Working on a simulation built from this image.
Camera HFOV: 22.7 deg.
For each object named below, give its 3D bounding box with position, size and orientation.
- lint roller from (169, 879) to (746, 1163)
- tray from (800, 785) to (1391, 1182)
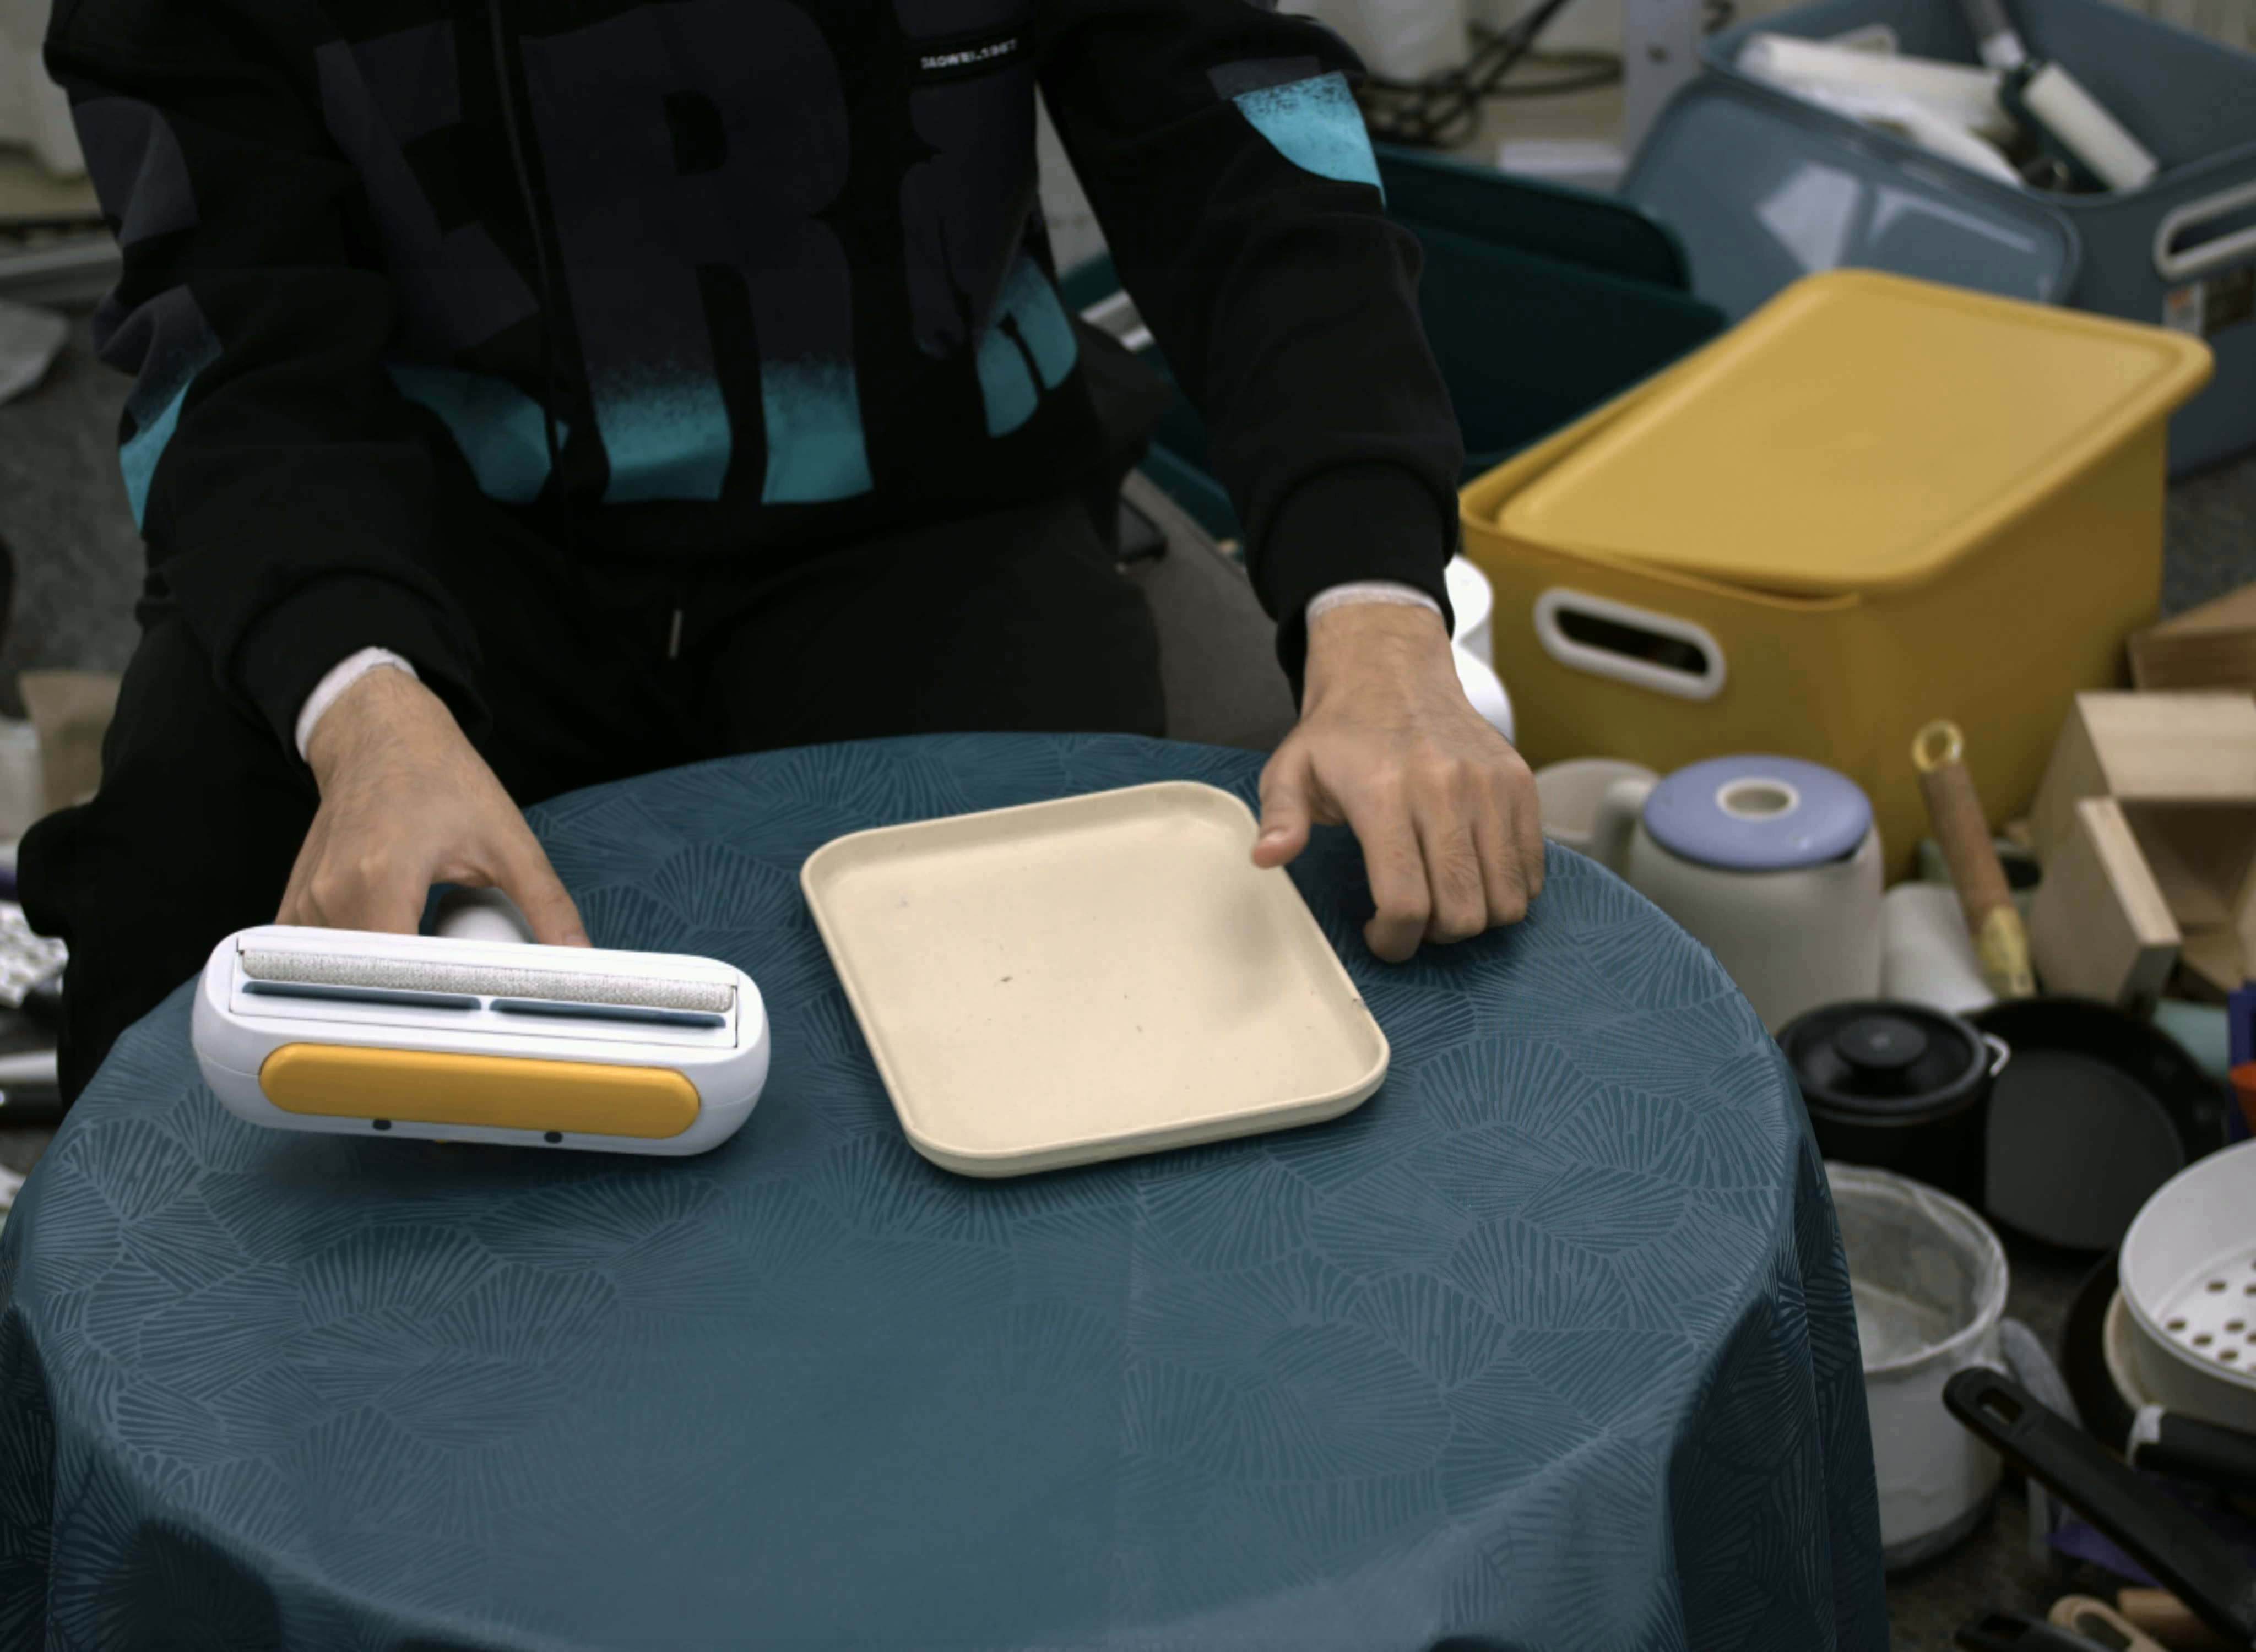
[{"bbox_3d":[-0.226,0.053,1.941,0.192,0.073,0.195,2,26,-3],"label":"lint roller"},{"bbox_3d":[-0.015,0.054,1.973,0.171,0.017,0.242,-9,28,-11],"label":"tray"}]
